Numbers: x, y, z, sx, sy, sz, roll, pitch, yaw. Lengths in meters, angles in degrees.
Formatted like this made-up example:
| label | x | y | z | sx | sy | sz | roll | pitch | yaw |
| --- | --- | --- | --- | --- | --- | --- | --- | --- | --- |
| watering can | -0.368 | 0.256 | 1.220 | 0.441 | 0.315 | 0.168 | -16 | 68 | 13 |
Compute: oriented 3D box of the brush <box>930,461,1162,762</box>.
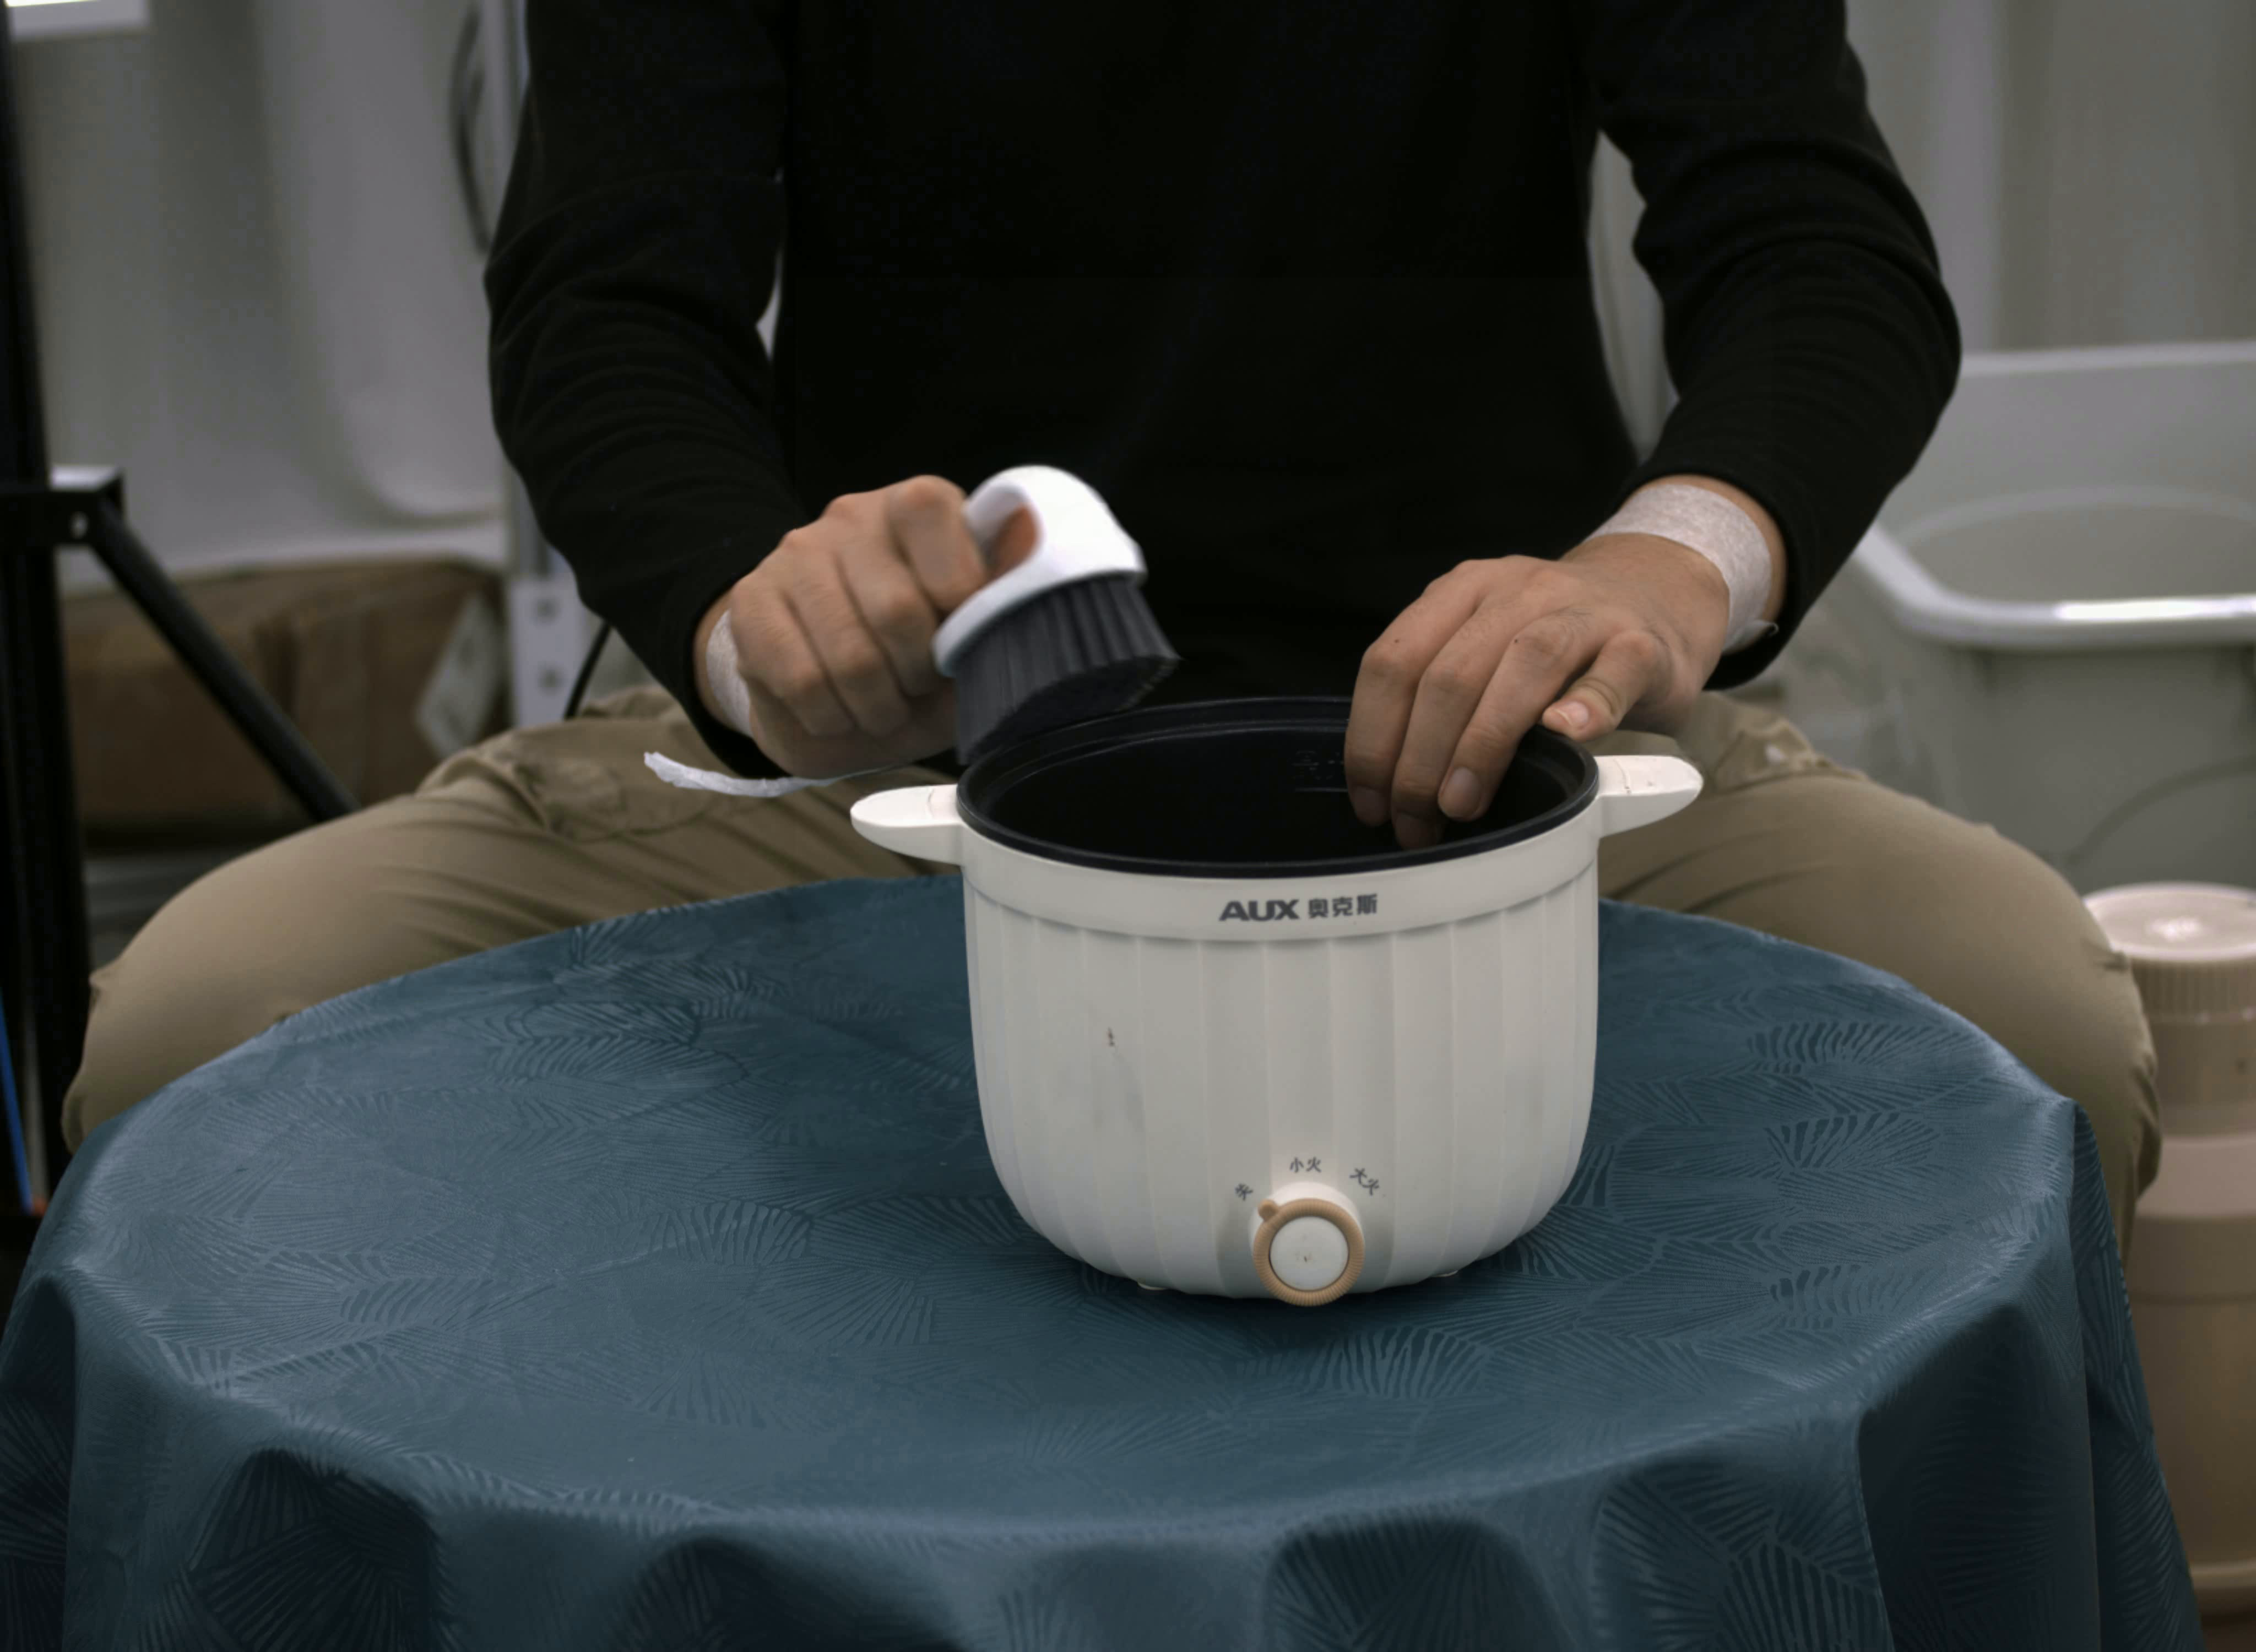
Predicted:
| label | x | y | z | sx | sy | sz | roll | pitch | yaw |
| --- | --- | --- | --- | --- | --- | --- | --- | --- | --- |
| brush | -0.031 | -0.068 | 1.564 | 0.049 | 0.073 | 0.100 | -14 | -12 | -20 |

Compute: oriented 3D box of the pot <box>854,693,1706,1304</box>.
| label | x | y | z | sx | sy | sz | roll | pitch | yaw |
| --- | --- | --- | --- | --- | --- | --- | --- | --- | --- |
| pot | 0.047 | 0.051 | 1.498 | 0.239 | 0.143 | 0.191 | -4 | 13 | 0 |
